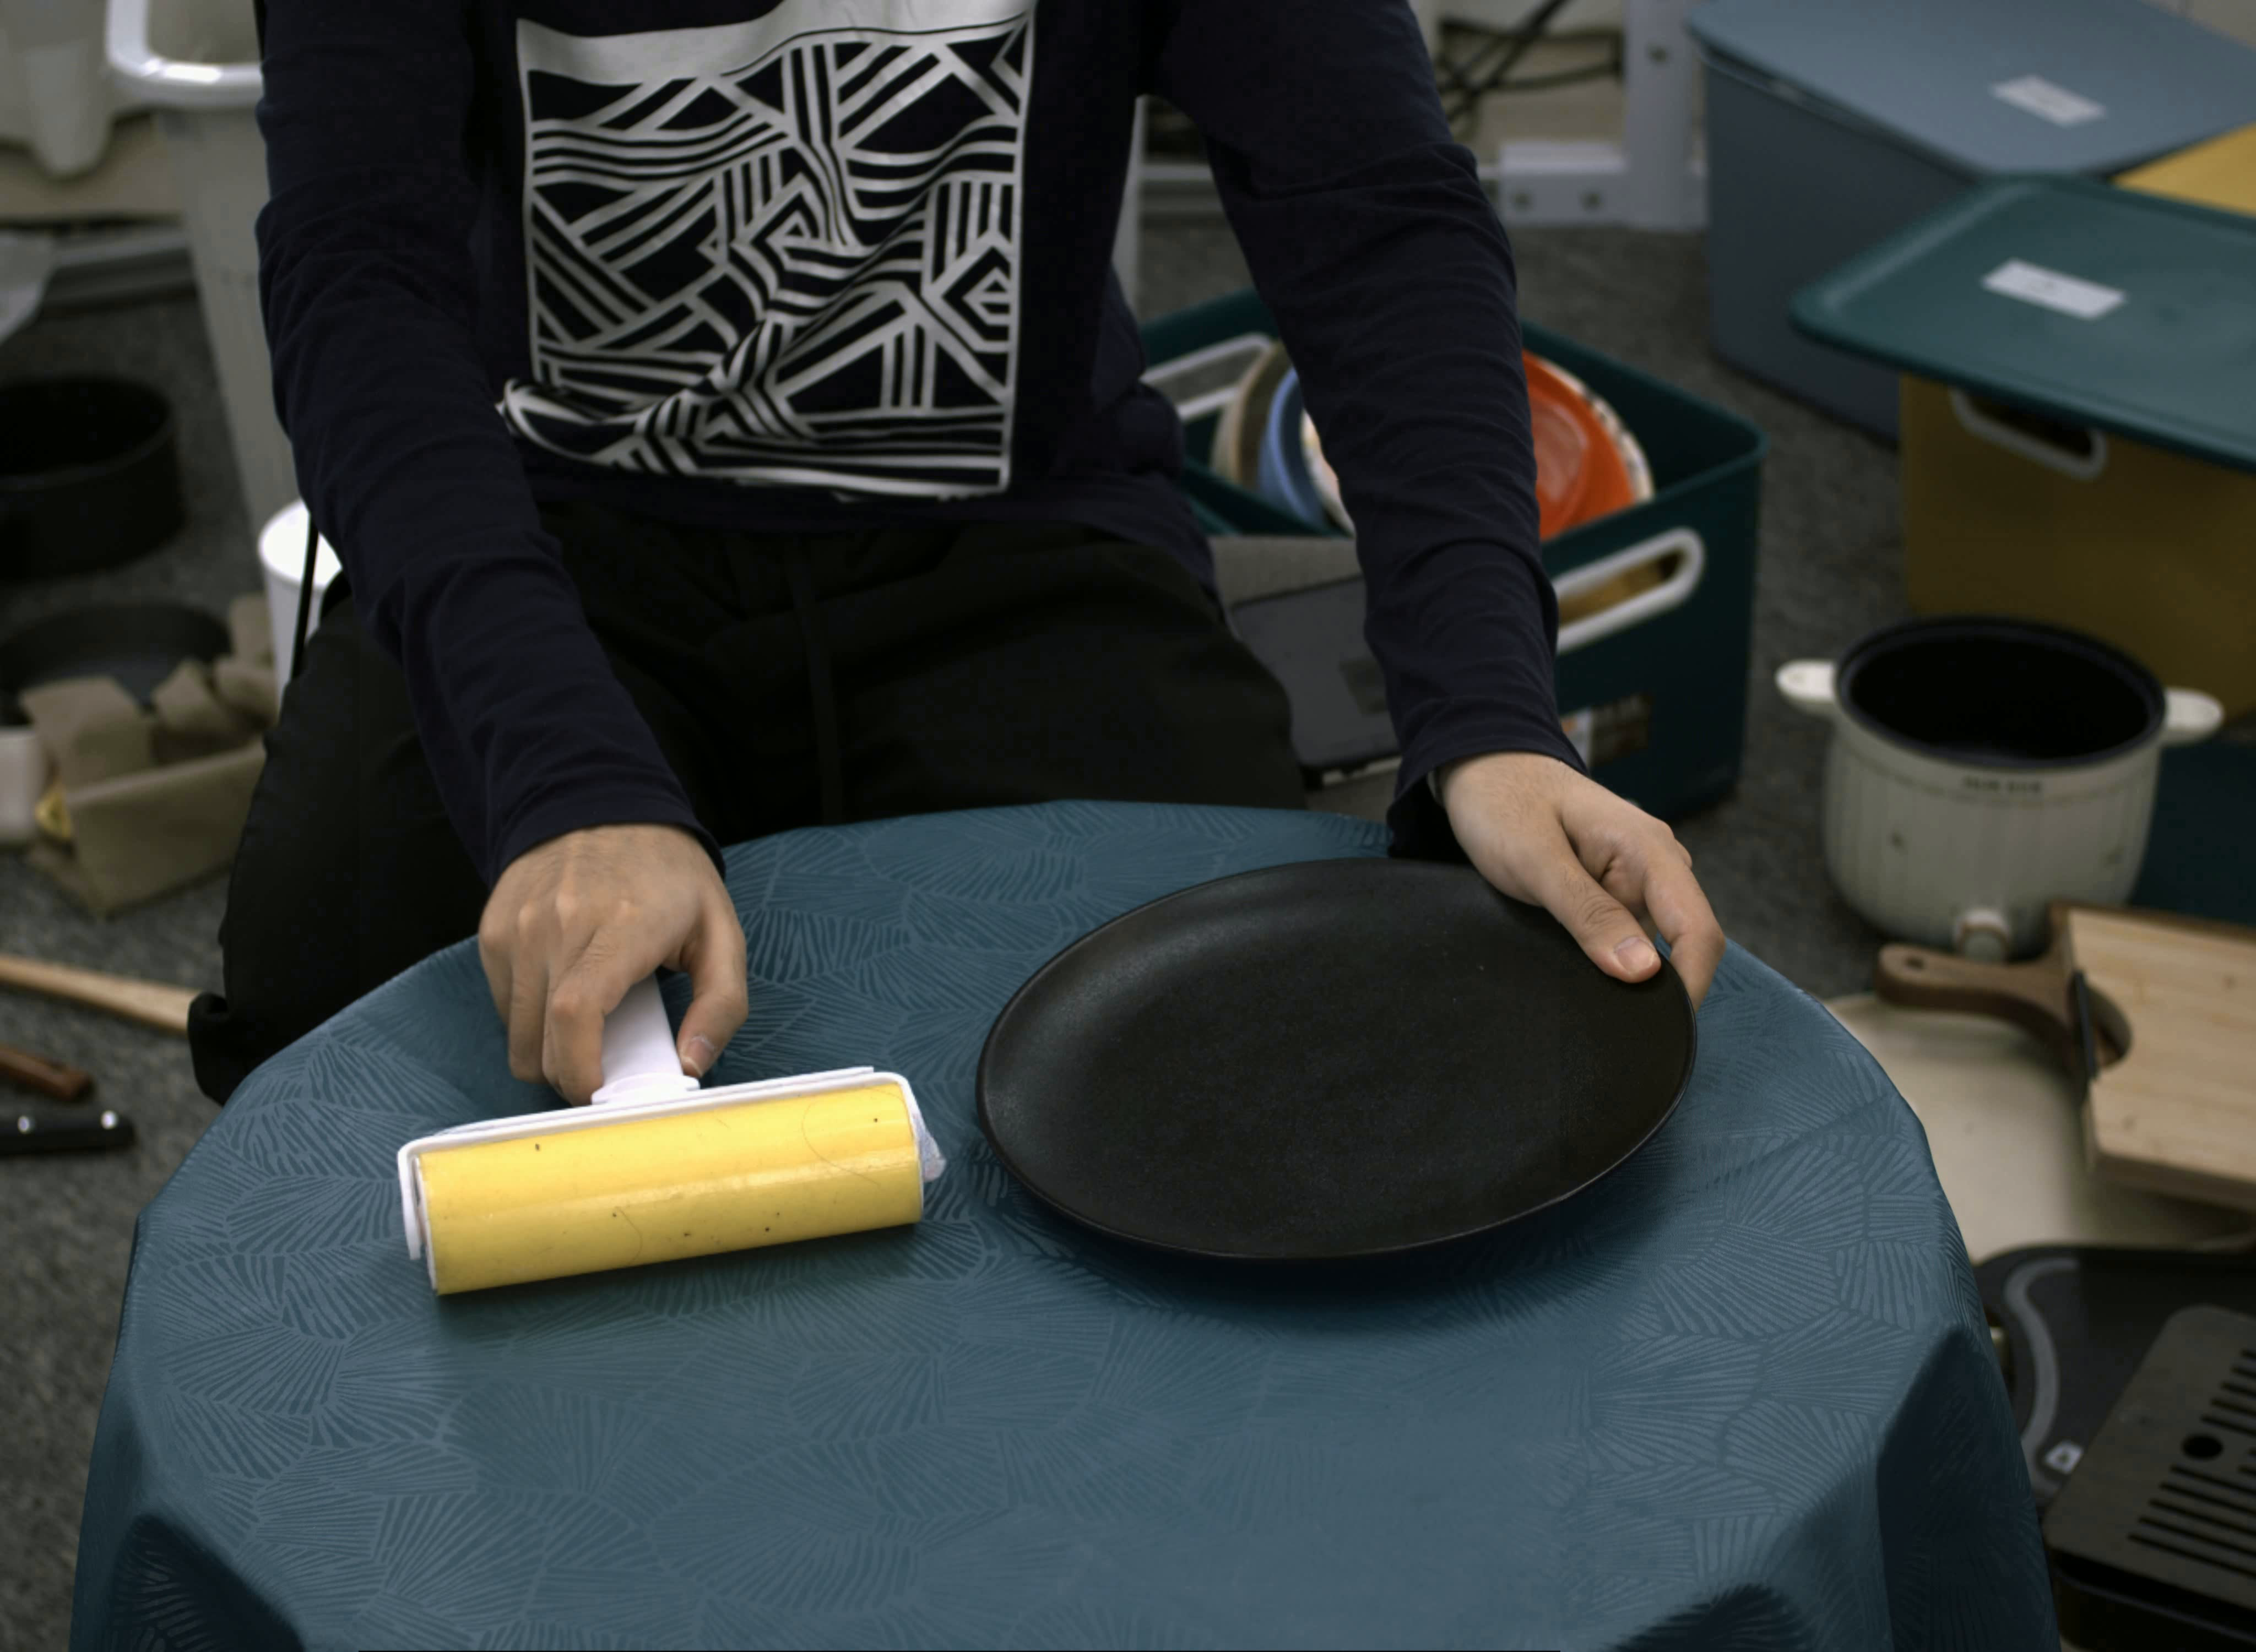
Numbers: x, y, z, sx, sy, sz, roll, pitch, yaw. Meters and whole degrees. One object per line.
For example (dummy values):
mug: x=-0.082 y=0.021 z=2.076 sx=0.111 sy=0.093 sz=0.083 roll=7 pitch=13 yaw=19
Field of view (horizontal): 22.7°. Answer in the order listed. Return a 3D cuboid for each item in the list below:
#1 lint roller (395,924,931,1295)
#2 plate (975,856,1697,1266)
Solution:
lint roller: x=-0.168 y=0.078 z=1.887 sx=0.174 sy=0.050 sz=0.195 roll=-8 pitch=37 yaw=-12
plate: x=0.070 y=0.082 z=1.891 sx=0.243 sy=0.023 sz=0.248 roll=-5 pitch=31 yaw=3
